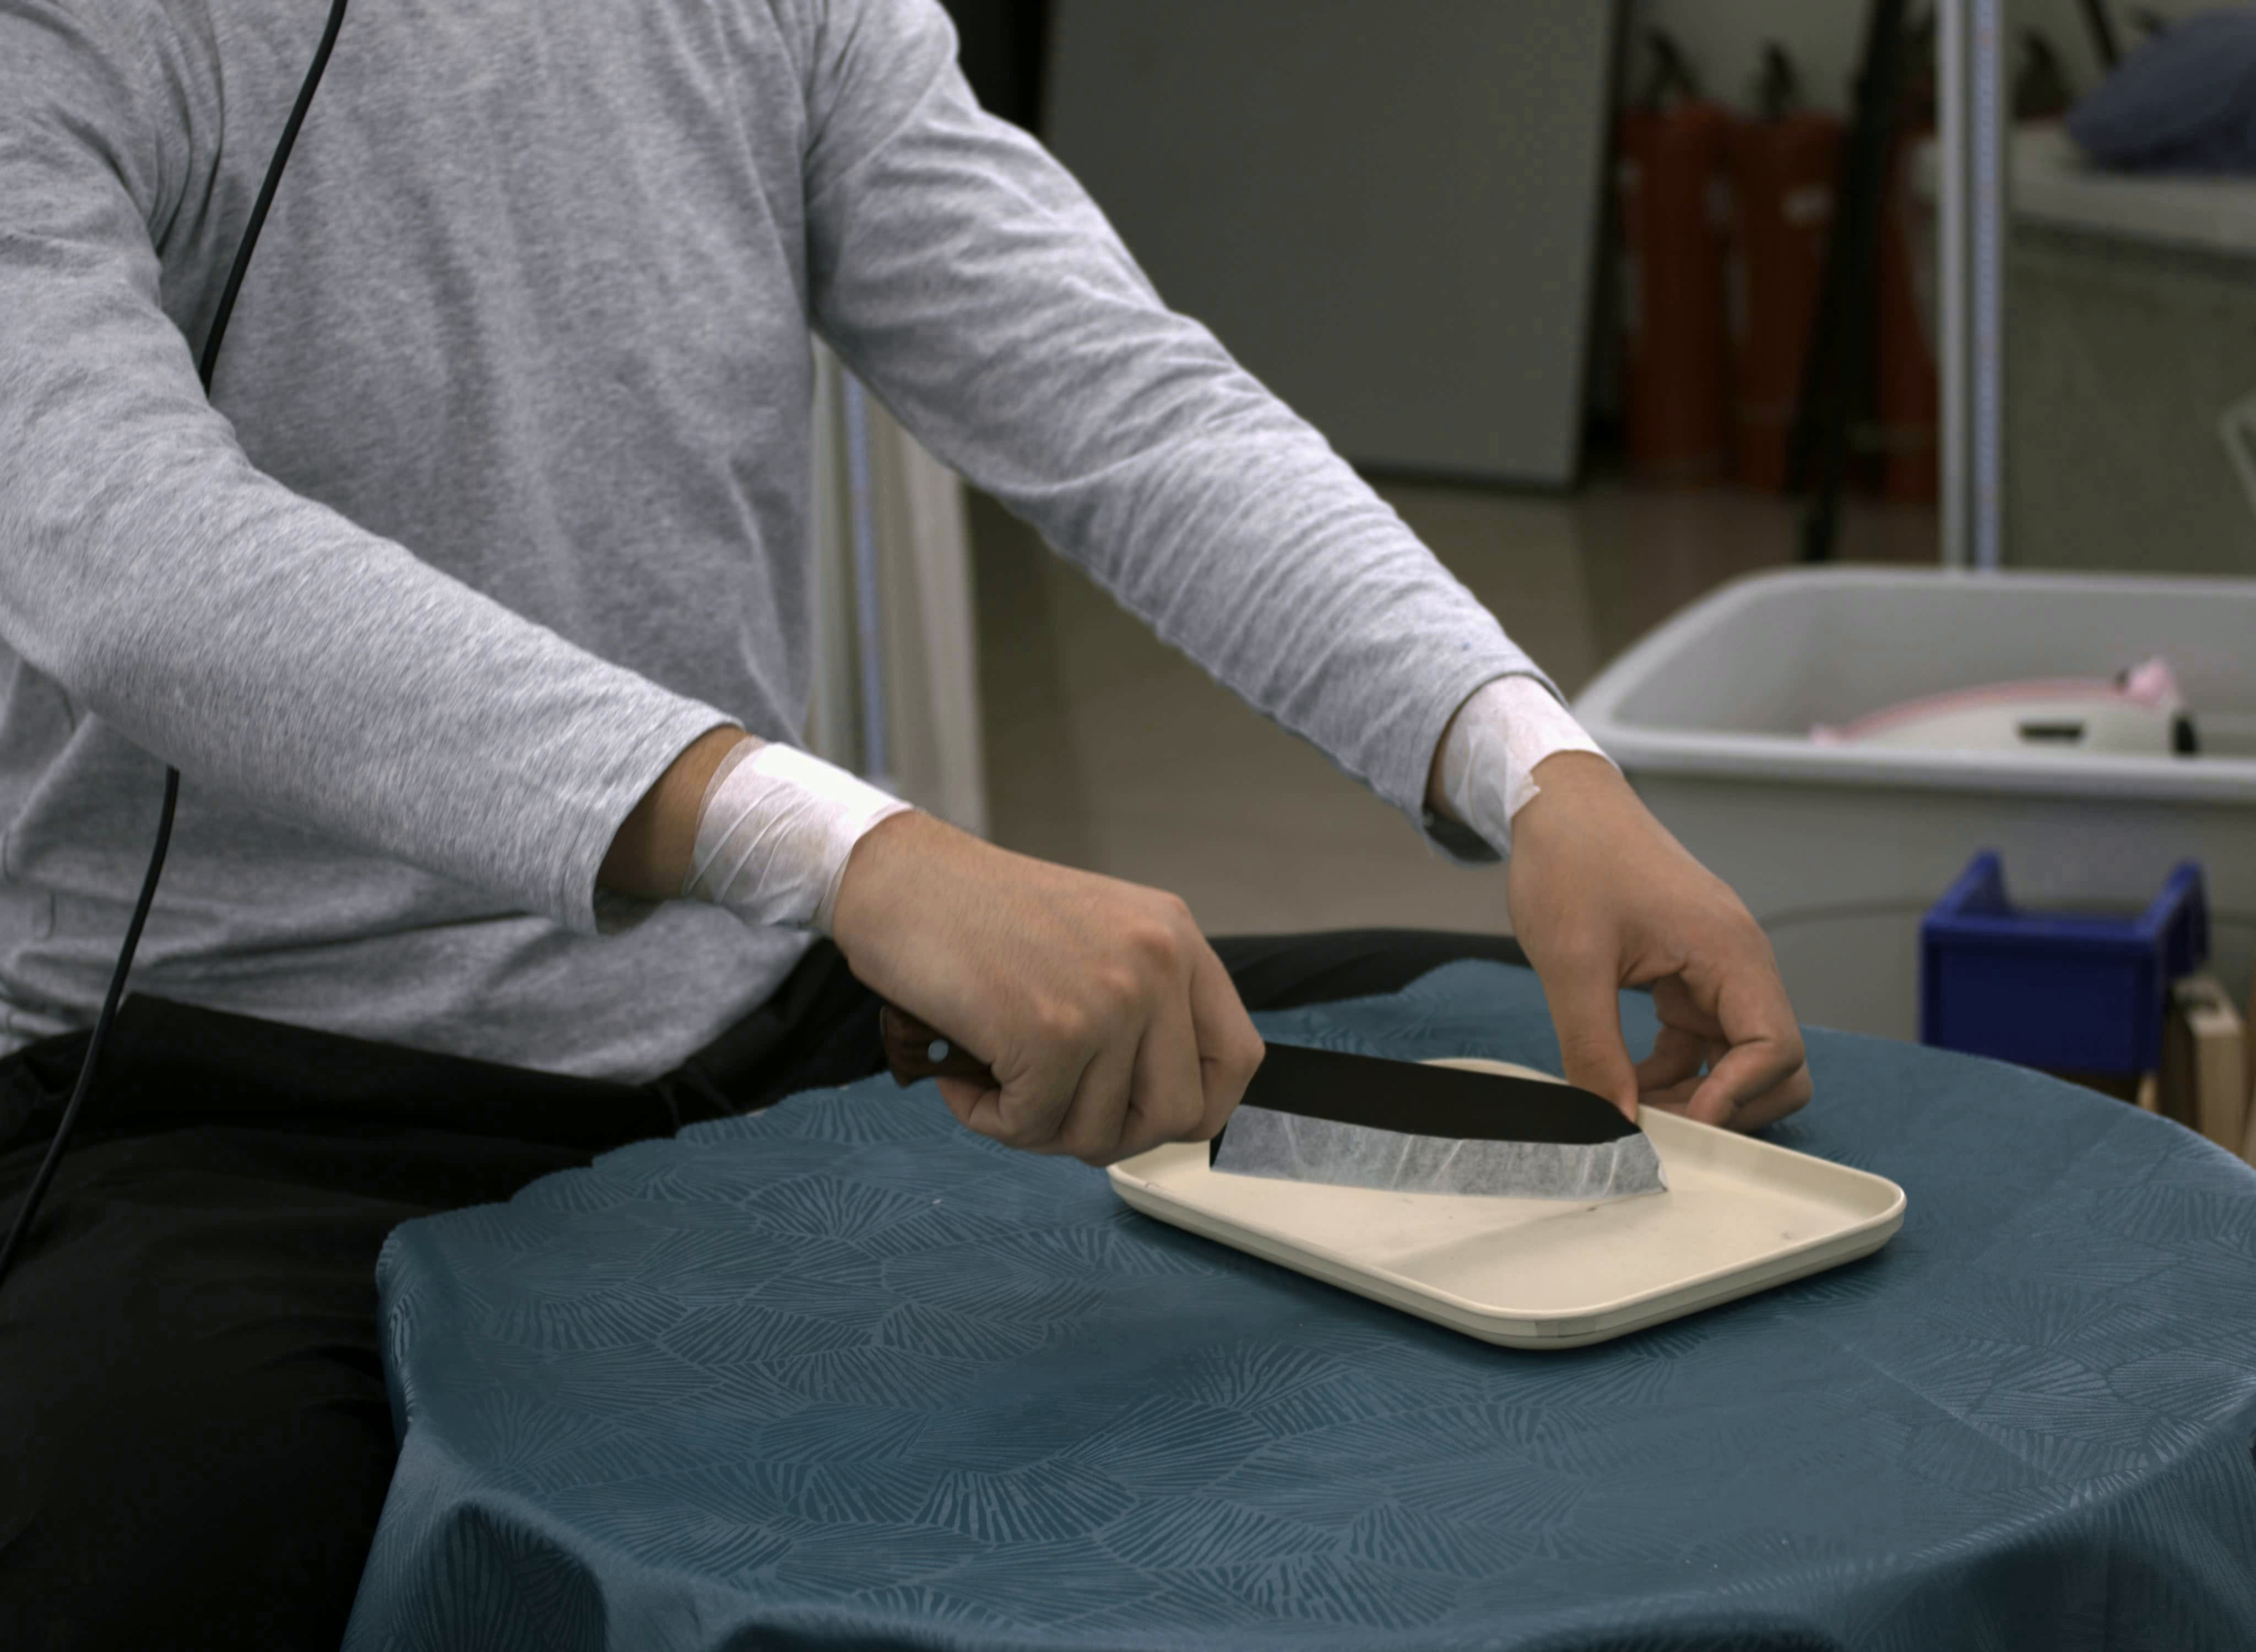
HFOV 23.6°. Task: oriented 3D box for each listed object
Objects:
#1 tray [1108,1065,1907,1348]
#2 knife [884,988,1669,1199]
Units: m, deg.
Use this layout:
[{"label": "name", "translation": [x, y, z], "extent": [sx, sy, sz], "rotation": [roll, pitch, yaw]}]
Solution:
[{"label": "tray", "translation": [0.118, 0.120, 1.711], "extent": [0.167, 0.017, 0.242], "rotation": [-13, 16, -33]}, {"label": "knife", "translation": [0.051, 0.085, 1.662], "extent": [0.283, 0.051, 0.020], "rotation": [12, 13, -27]}]
